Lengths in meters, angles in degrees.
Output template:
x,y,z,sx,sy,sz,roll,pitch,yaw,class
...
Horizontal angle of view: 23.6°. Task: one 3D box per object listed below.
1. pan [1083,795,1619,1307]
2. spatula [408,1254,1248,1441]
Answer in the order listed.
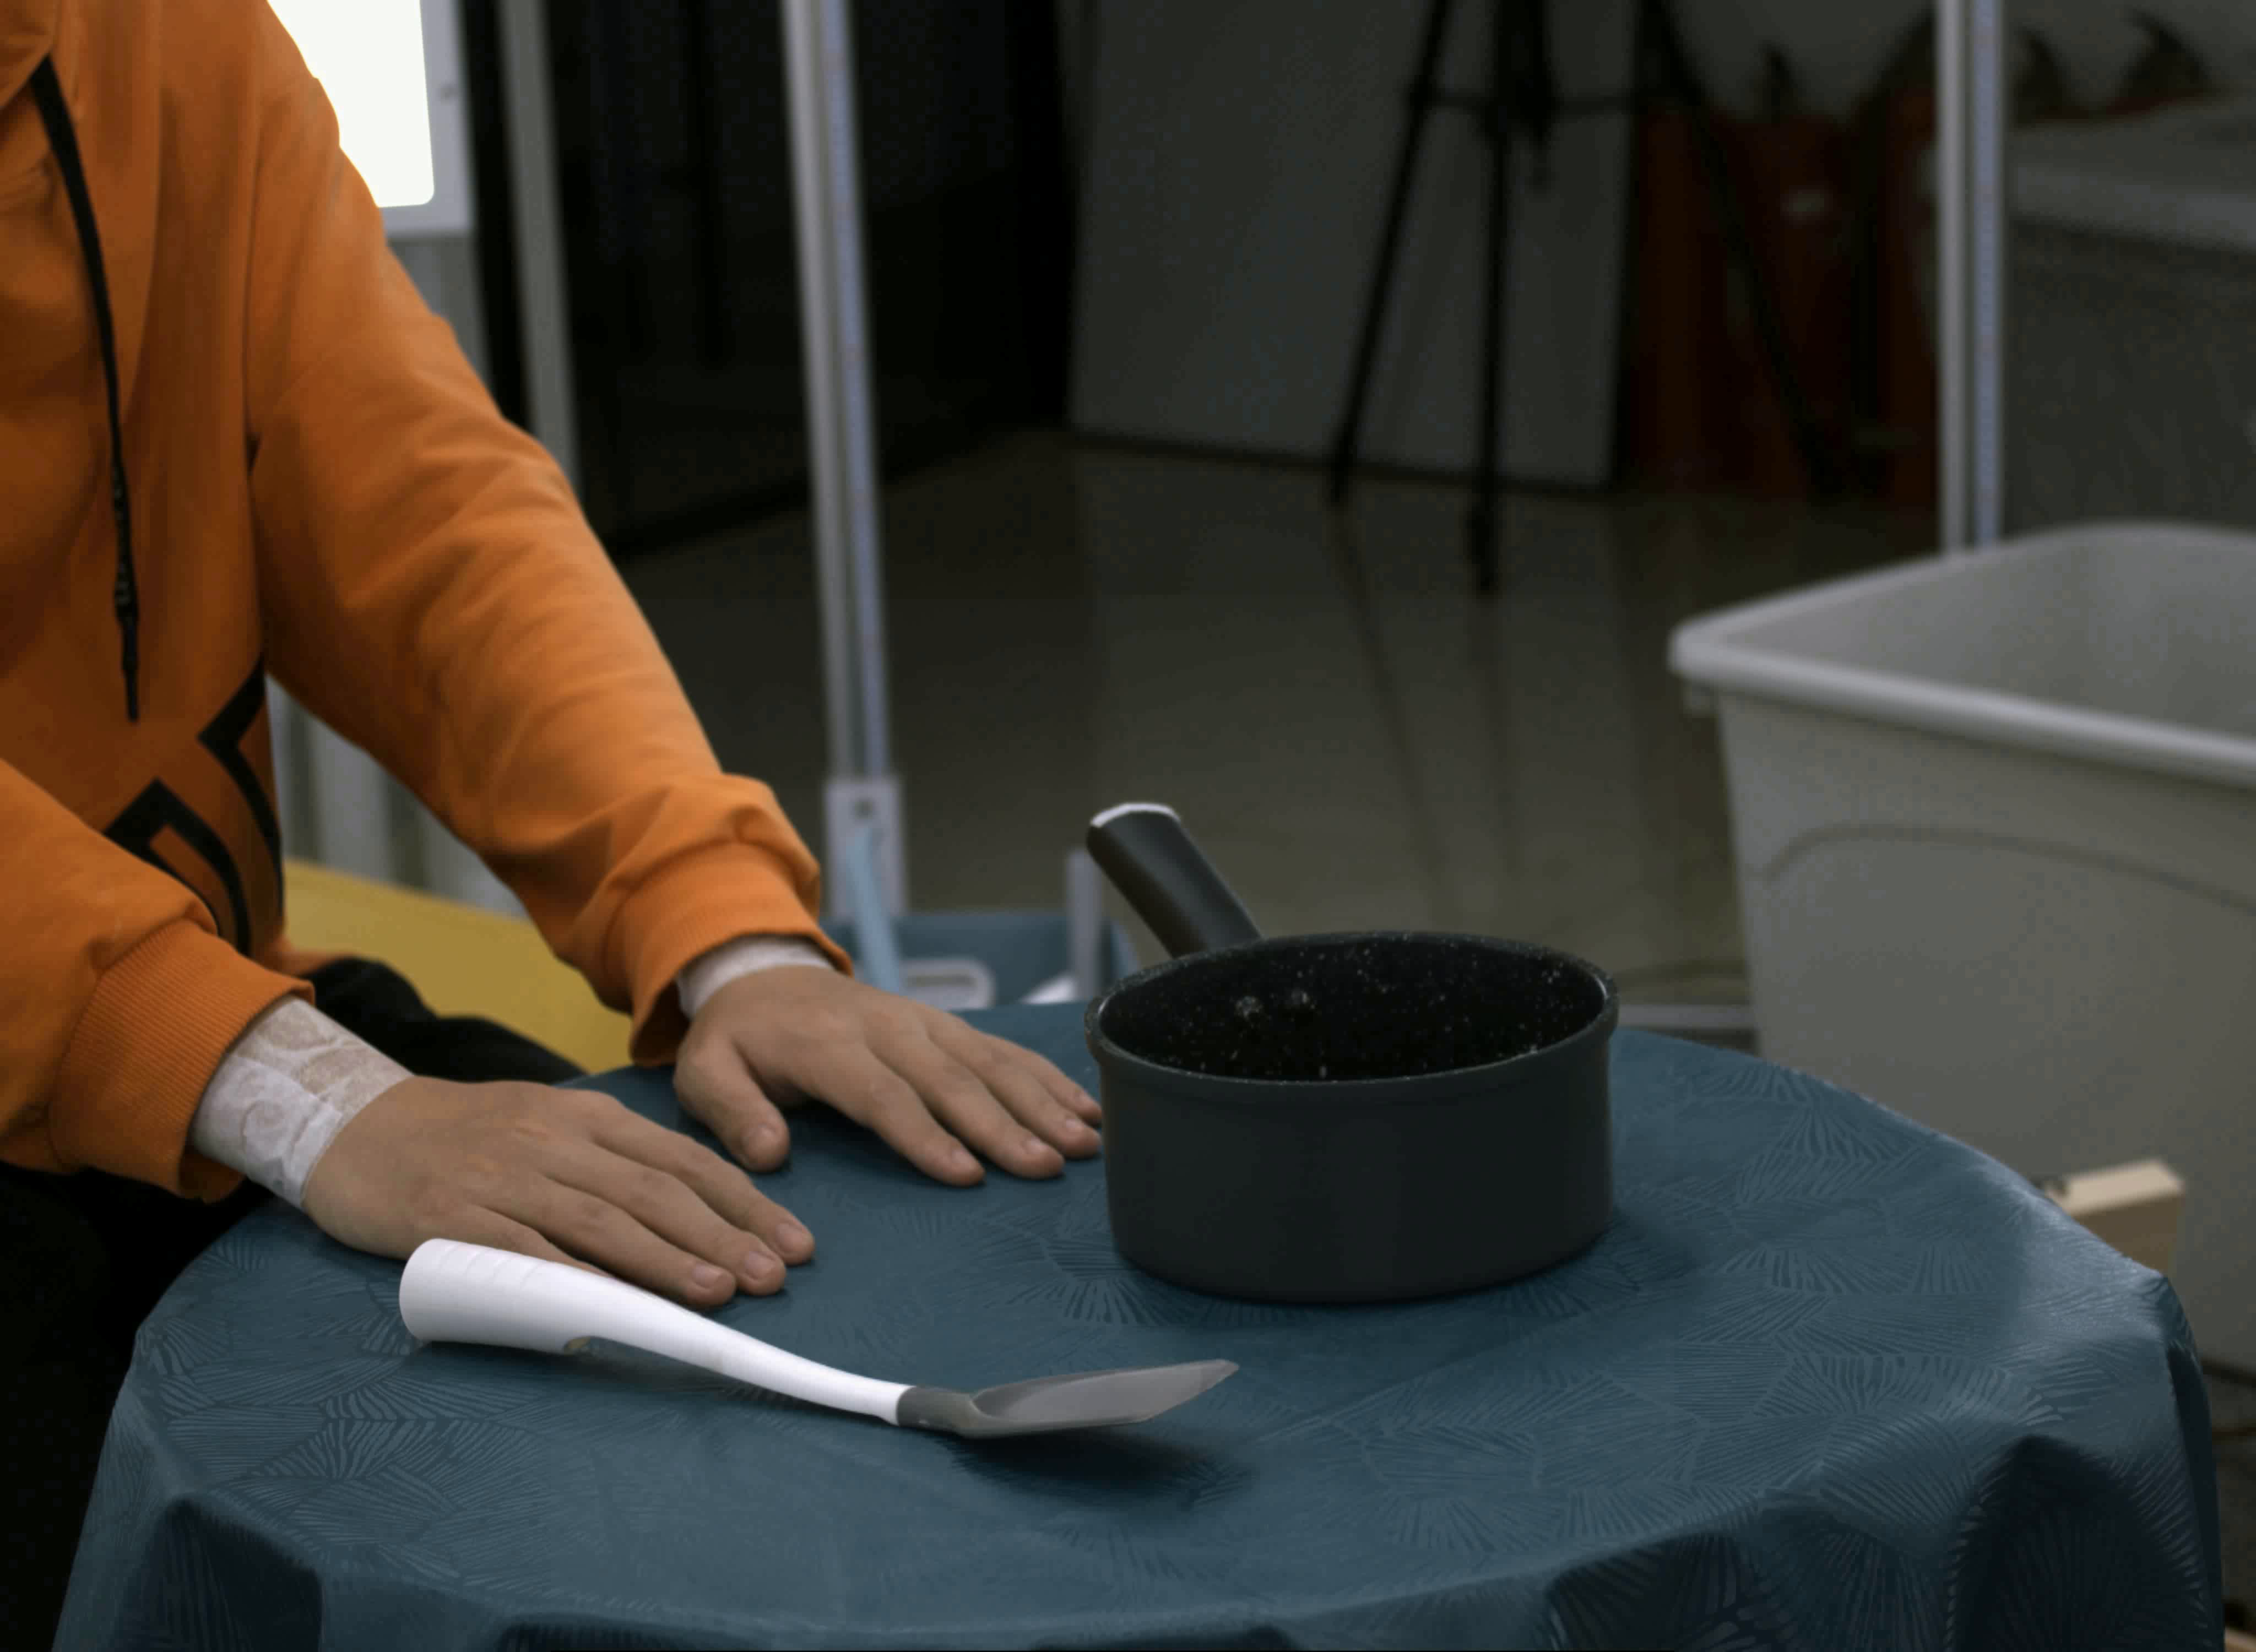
x,y,z,sx,sy,sz,roll,pitch,yaw,class
0.053,0.070,1.783,0.169,0.087,0.331,-7,15,-12,pan
-0.093,0.157,1.588,0.289,0.032,0.057,4,13,34,spatula
